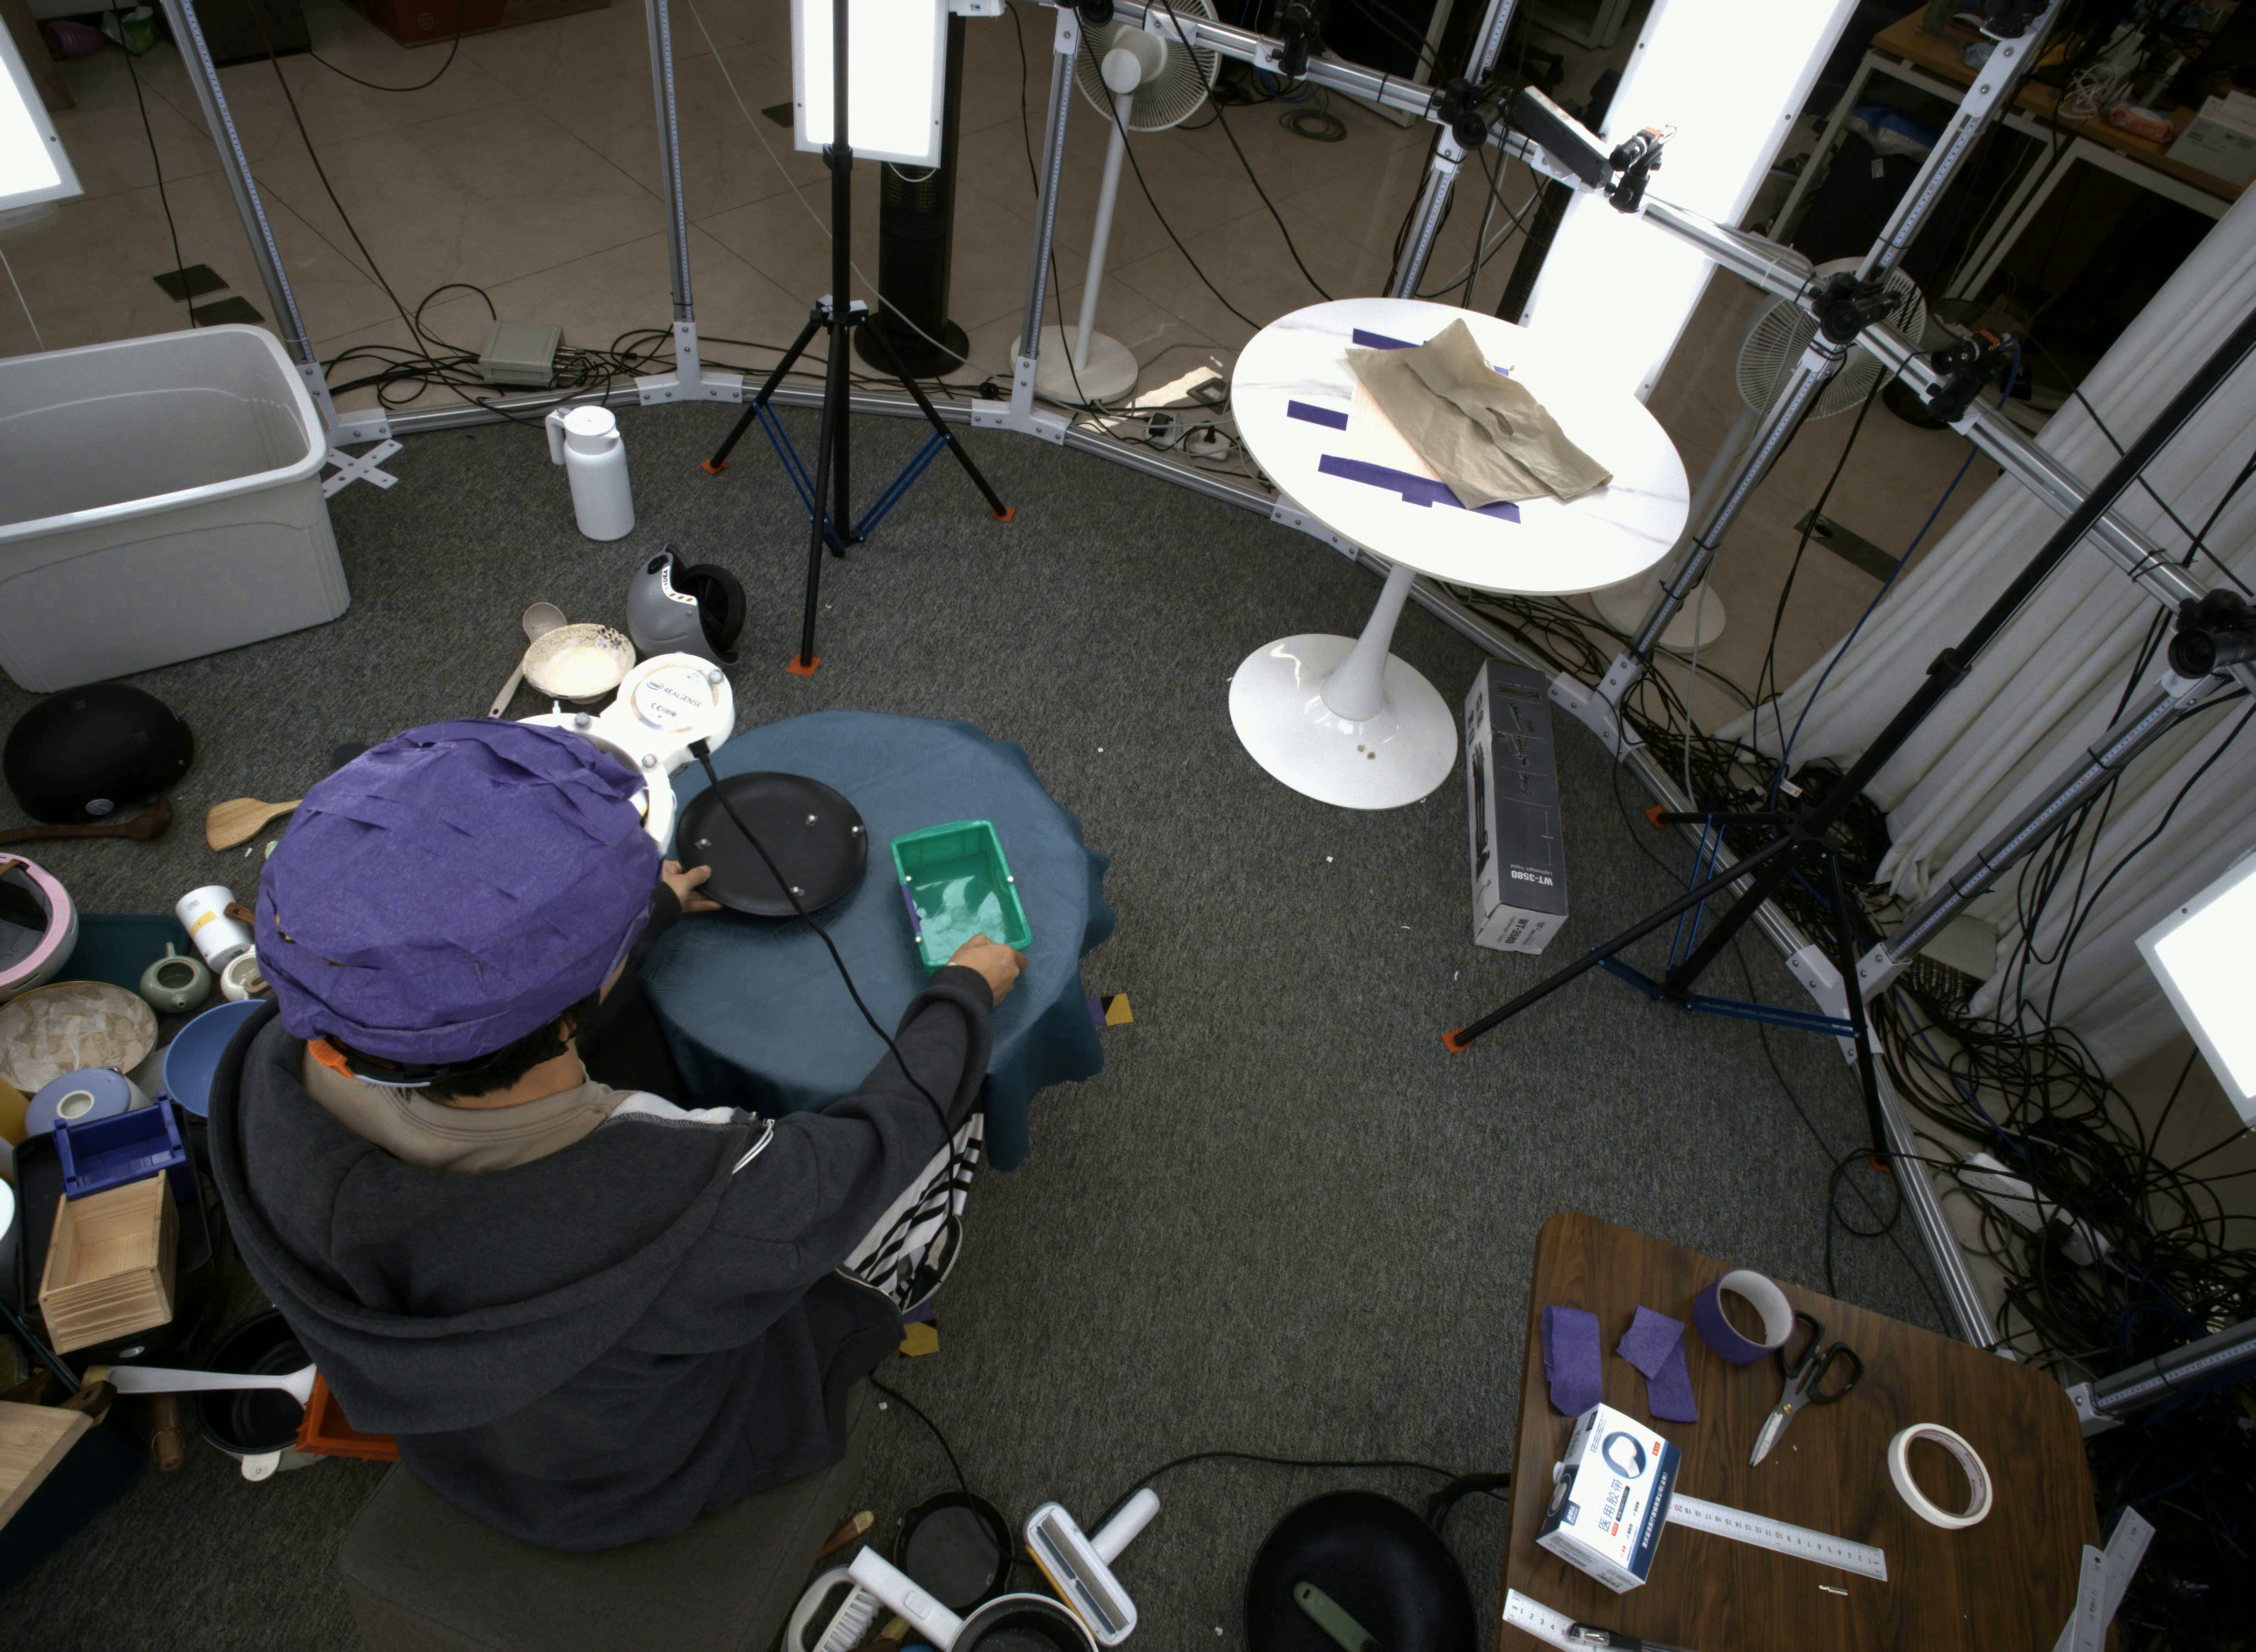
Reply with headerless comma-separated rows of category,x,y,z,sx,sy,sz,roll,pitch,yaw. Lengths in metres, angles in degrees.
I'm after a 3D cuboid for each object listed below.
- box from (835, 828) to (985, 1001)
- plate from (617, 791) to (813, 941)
box,-0.275,0.112,1.635,0.139,0.067,0.205,-17,61,-19
plate,-0.524,0.050,1.639,0.245,0.024,0.239,12,47,-11
